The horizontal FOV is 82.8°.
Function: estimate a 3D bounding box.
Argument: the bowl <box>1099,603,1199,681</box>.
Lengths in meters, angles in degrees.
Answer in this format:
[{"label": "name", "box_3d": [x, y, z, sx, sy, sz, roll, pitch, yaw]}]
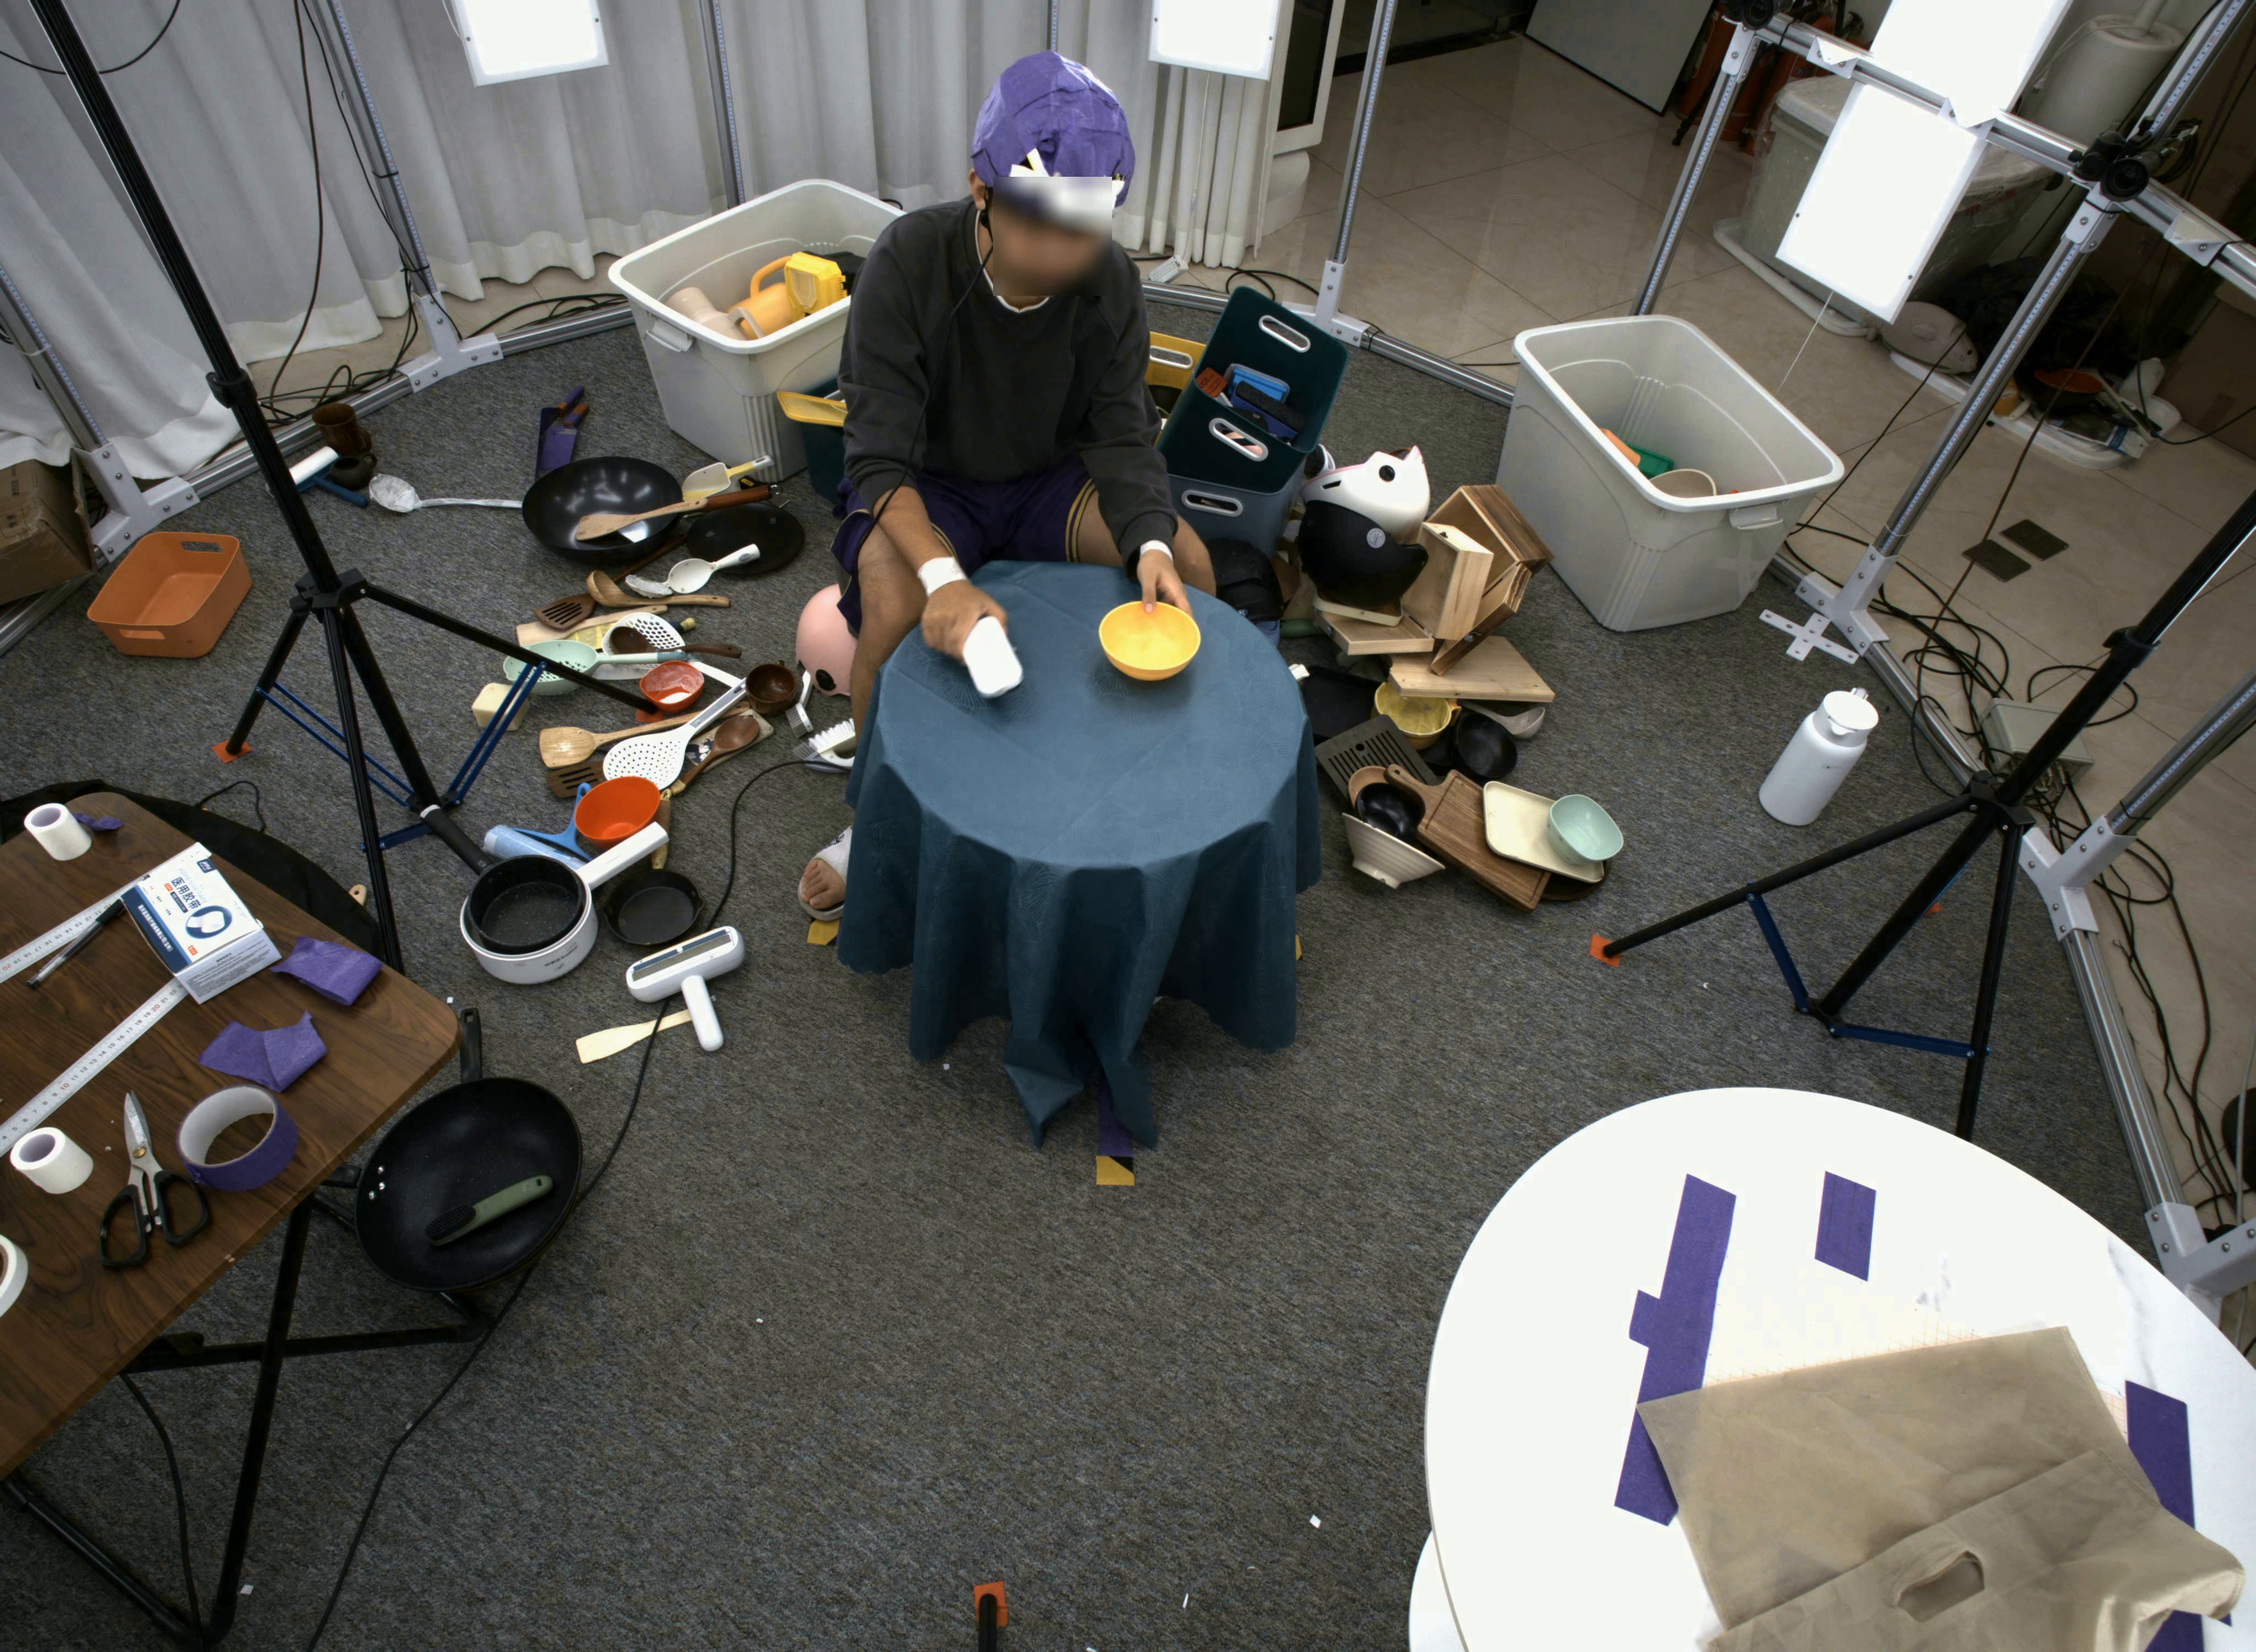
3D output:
[{"label": "bowl", "box_3d": [0.028, -0.254, 1.854, 0.145, 0.058, 0.149, 2, 47, -3]}]

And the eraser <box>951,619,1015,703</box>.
[{"label": "eraser", "box_3d": [-0.200, -0.233, 1.794, 0.063, 0.034, 0.134, -21, 57, -4]}]
